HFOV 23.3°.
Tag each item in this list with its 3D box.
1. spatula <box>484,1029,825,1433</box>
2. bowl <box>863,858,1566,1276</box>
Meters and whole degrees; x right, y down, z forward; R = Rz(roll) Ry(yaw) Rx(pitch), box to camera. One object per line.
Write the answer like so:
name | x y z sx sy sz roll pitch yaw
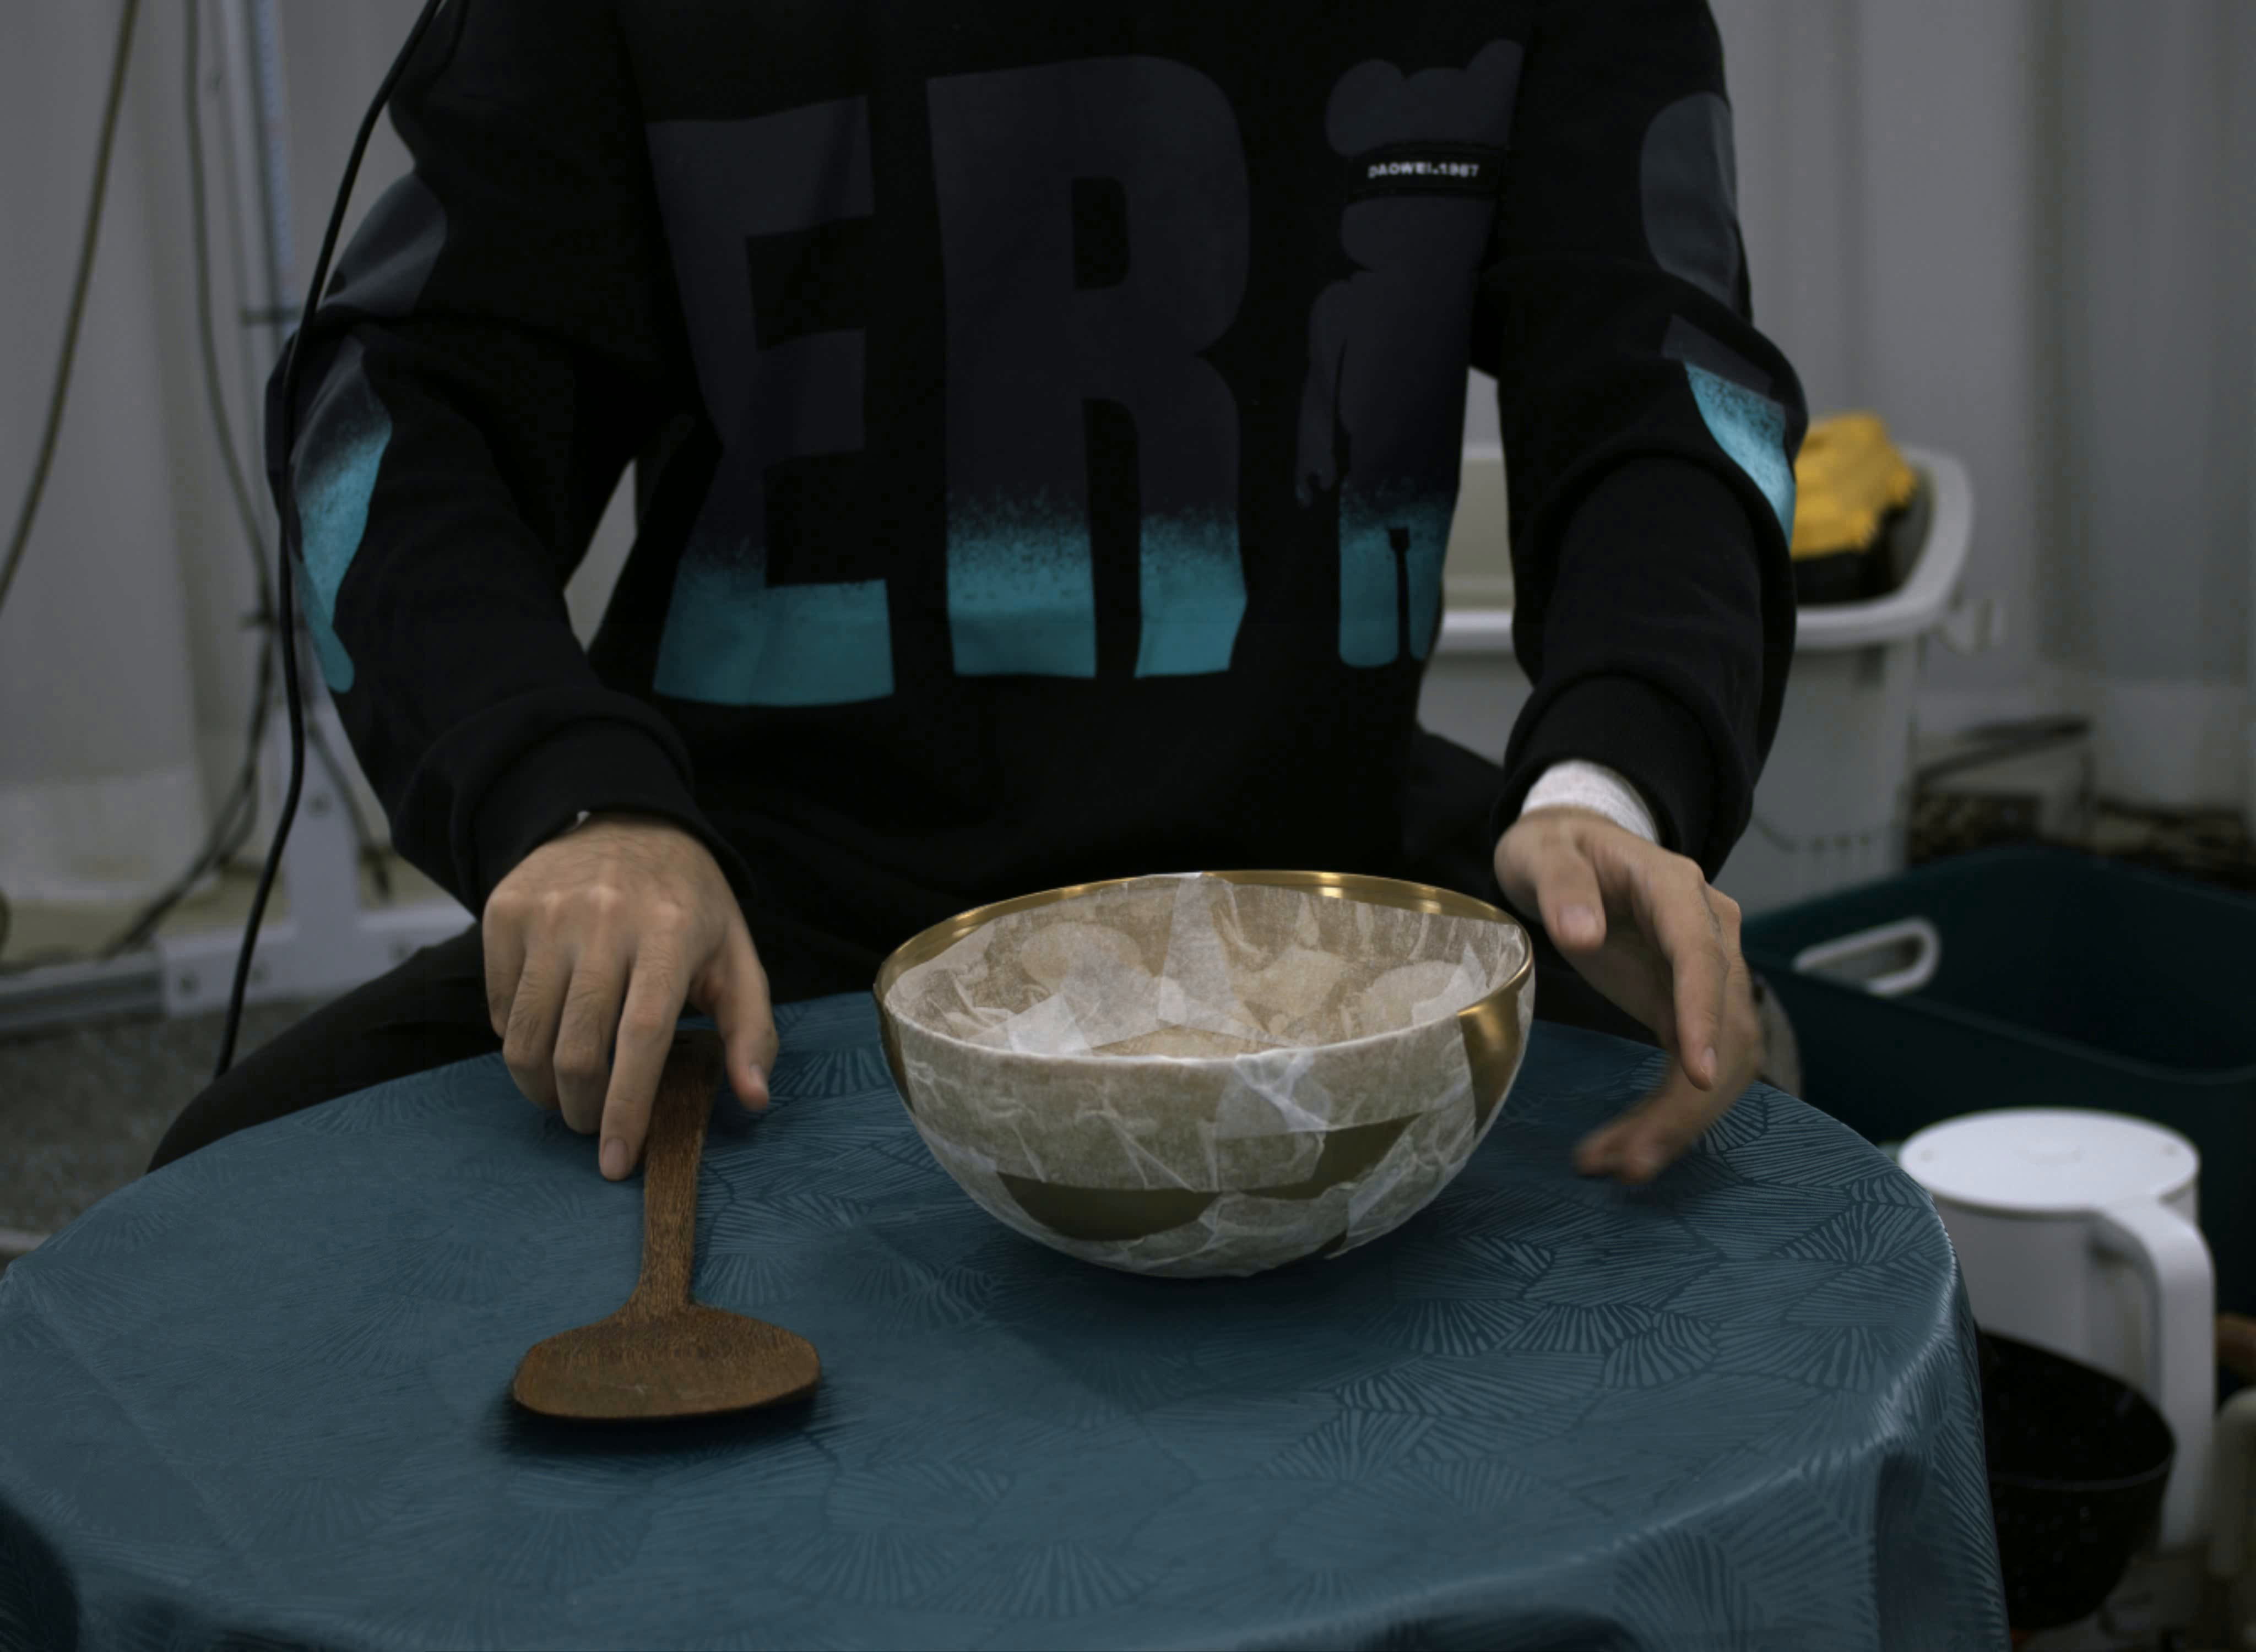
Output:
spatula | -0.143 0.119 1.698 0.096 0.016 0.389 -3 15 -3
bowl | 0.028 0.081 1.653 0.214 0.094 0.216 -4 14 1
